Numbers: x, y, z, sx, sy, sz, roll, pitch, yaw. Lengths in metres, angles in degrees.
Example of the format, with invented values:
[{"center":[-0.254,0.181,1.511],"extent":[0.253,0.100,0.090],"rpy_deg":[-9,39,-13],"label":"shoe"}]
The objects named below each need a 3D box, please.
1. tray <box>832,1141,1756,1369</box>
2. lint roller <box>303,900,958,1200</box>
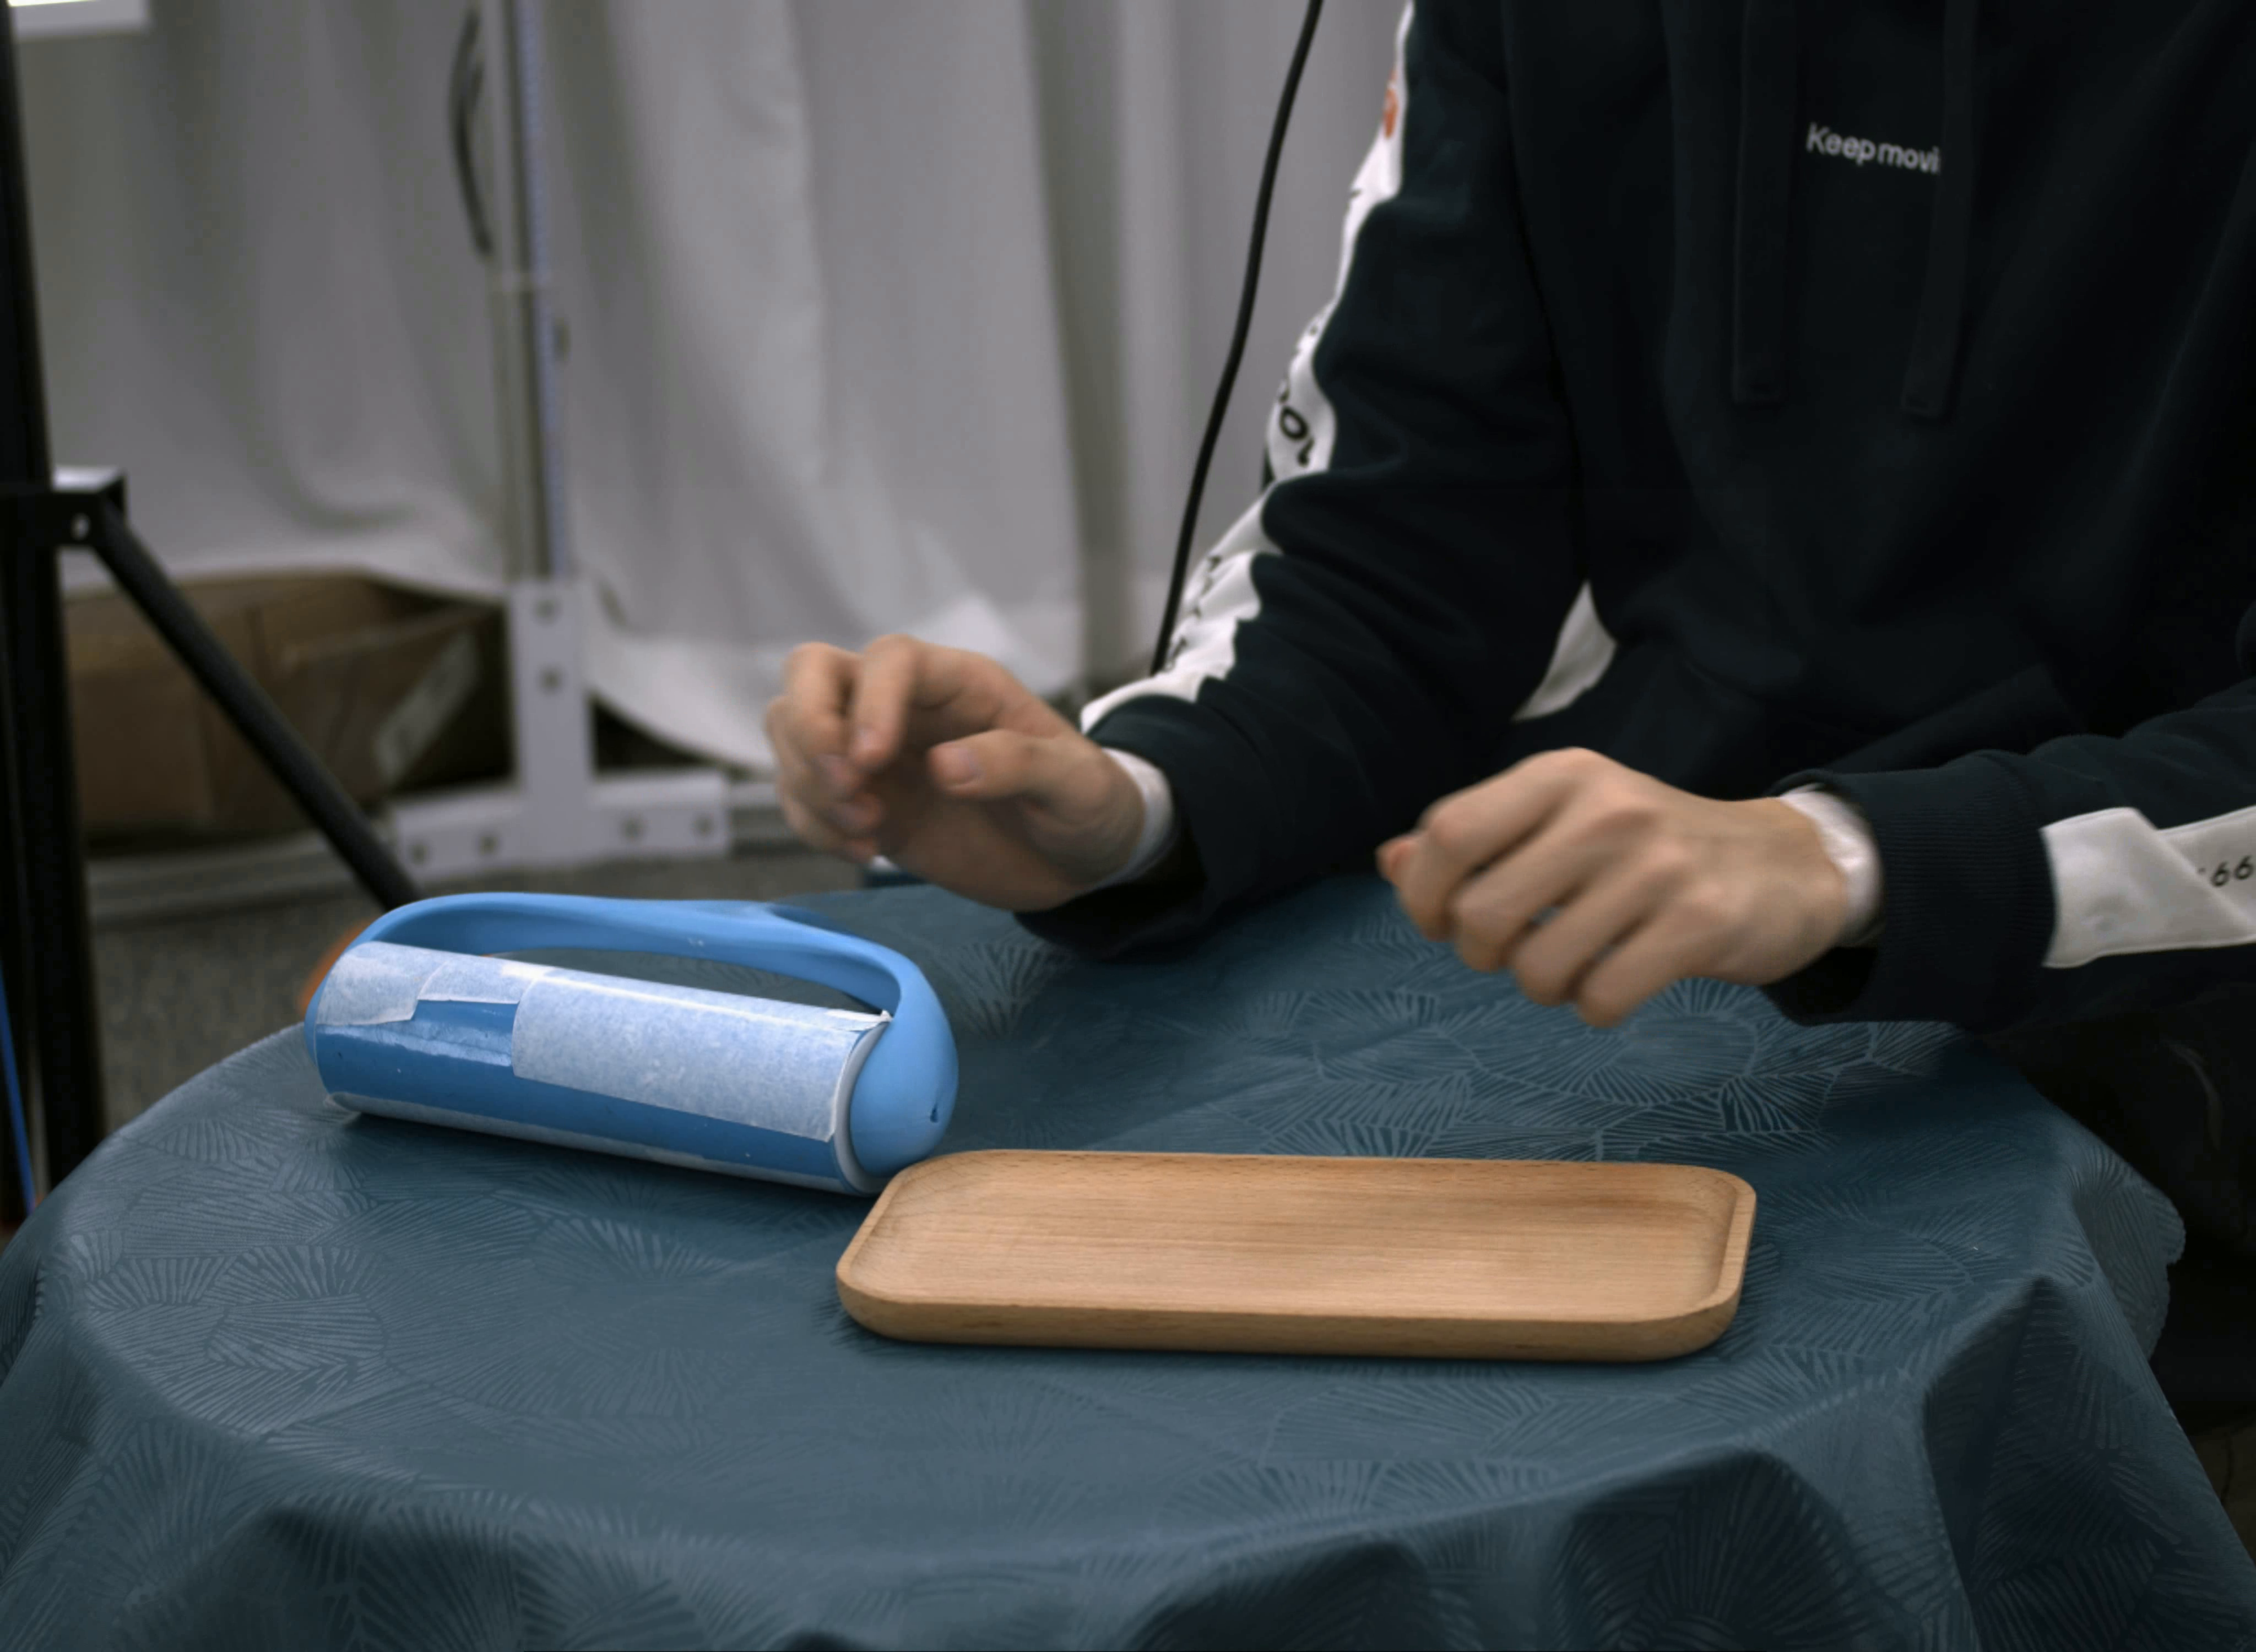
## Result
[{"center":[0.048,0.119,1.479],"extent":[0.252,0.023,0.129],"rpy_deg":[1,14,13],"label":"tray"},{"center":[-0.127,0.056,1.658],"extent":[0.233,0.068,0.177],"rpy_deg":[4,18,29],"label":"lint roller"}]
